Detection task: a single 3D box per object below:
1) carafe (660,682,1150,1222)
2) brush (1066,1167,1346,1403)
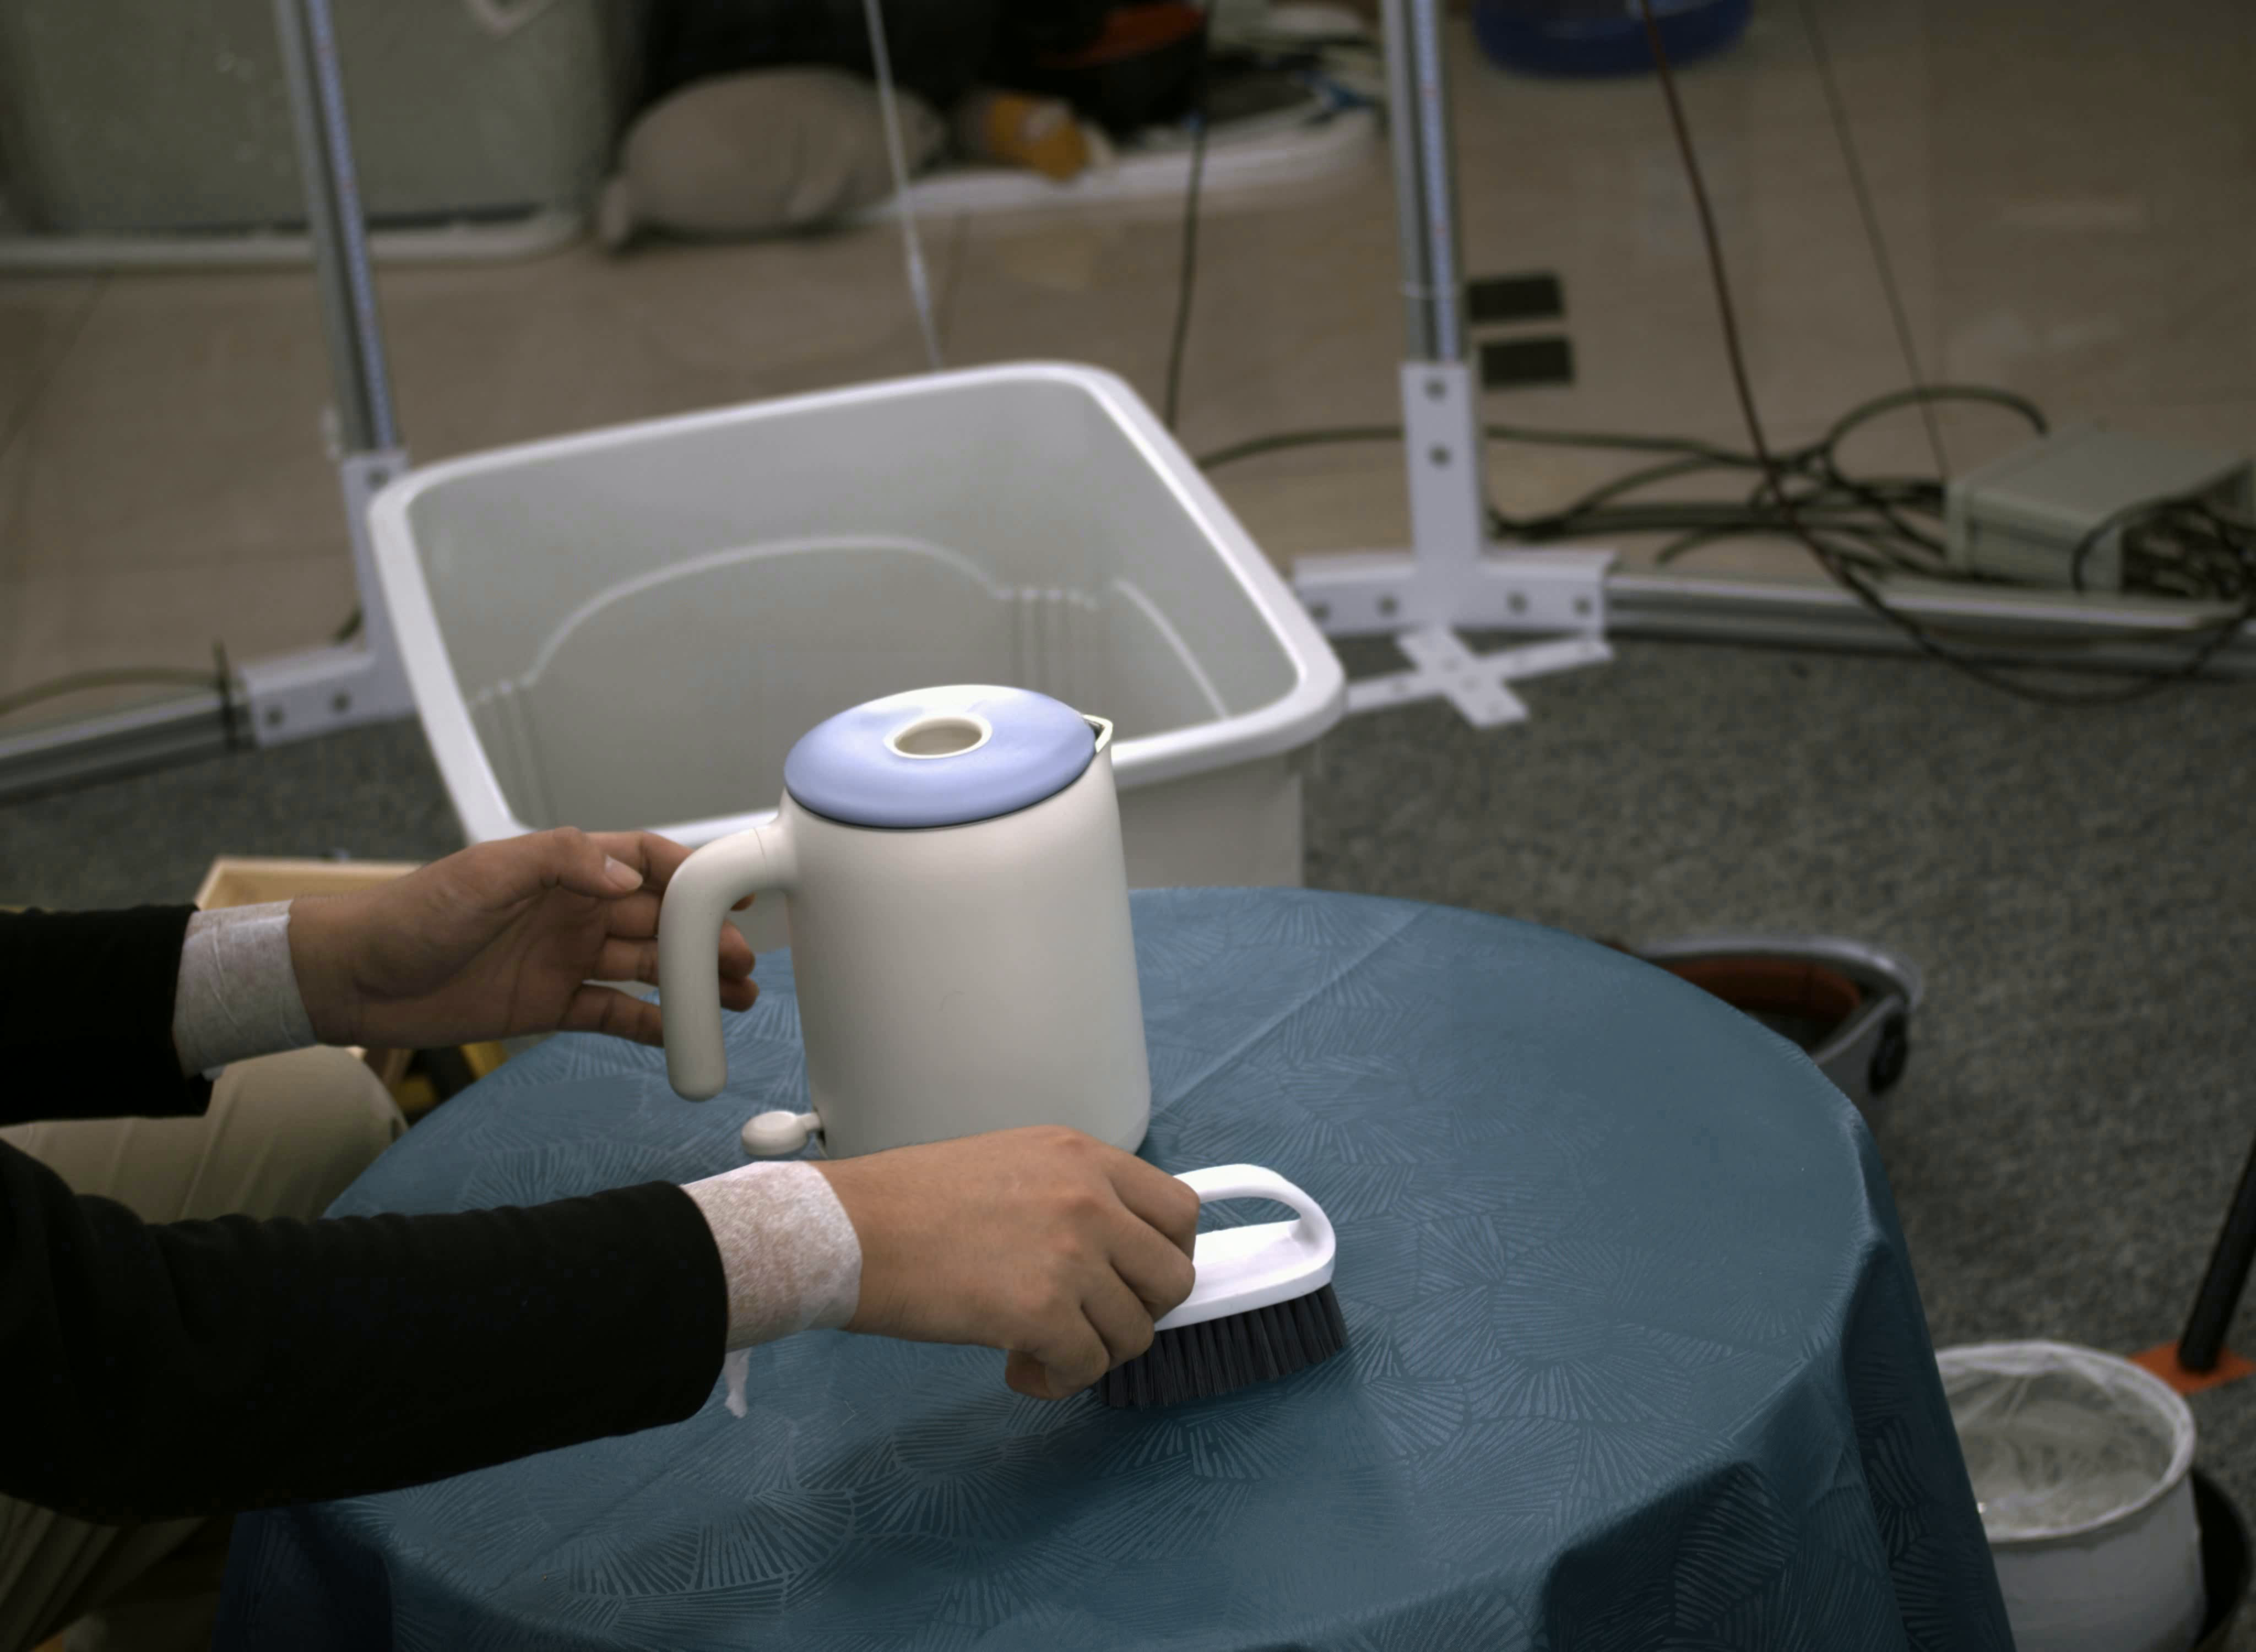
[{"bbox_3d":[-0.086,0.053,2.148,0.190,0.185,0.130,-15,27,-14],"label":"carafe"},{"bbox_3d":[0.026,0.157,2.014,0.099,0.073,0.049,-11,26,-11],"label":"brush"}]
